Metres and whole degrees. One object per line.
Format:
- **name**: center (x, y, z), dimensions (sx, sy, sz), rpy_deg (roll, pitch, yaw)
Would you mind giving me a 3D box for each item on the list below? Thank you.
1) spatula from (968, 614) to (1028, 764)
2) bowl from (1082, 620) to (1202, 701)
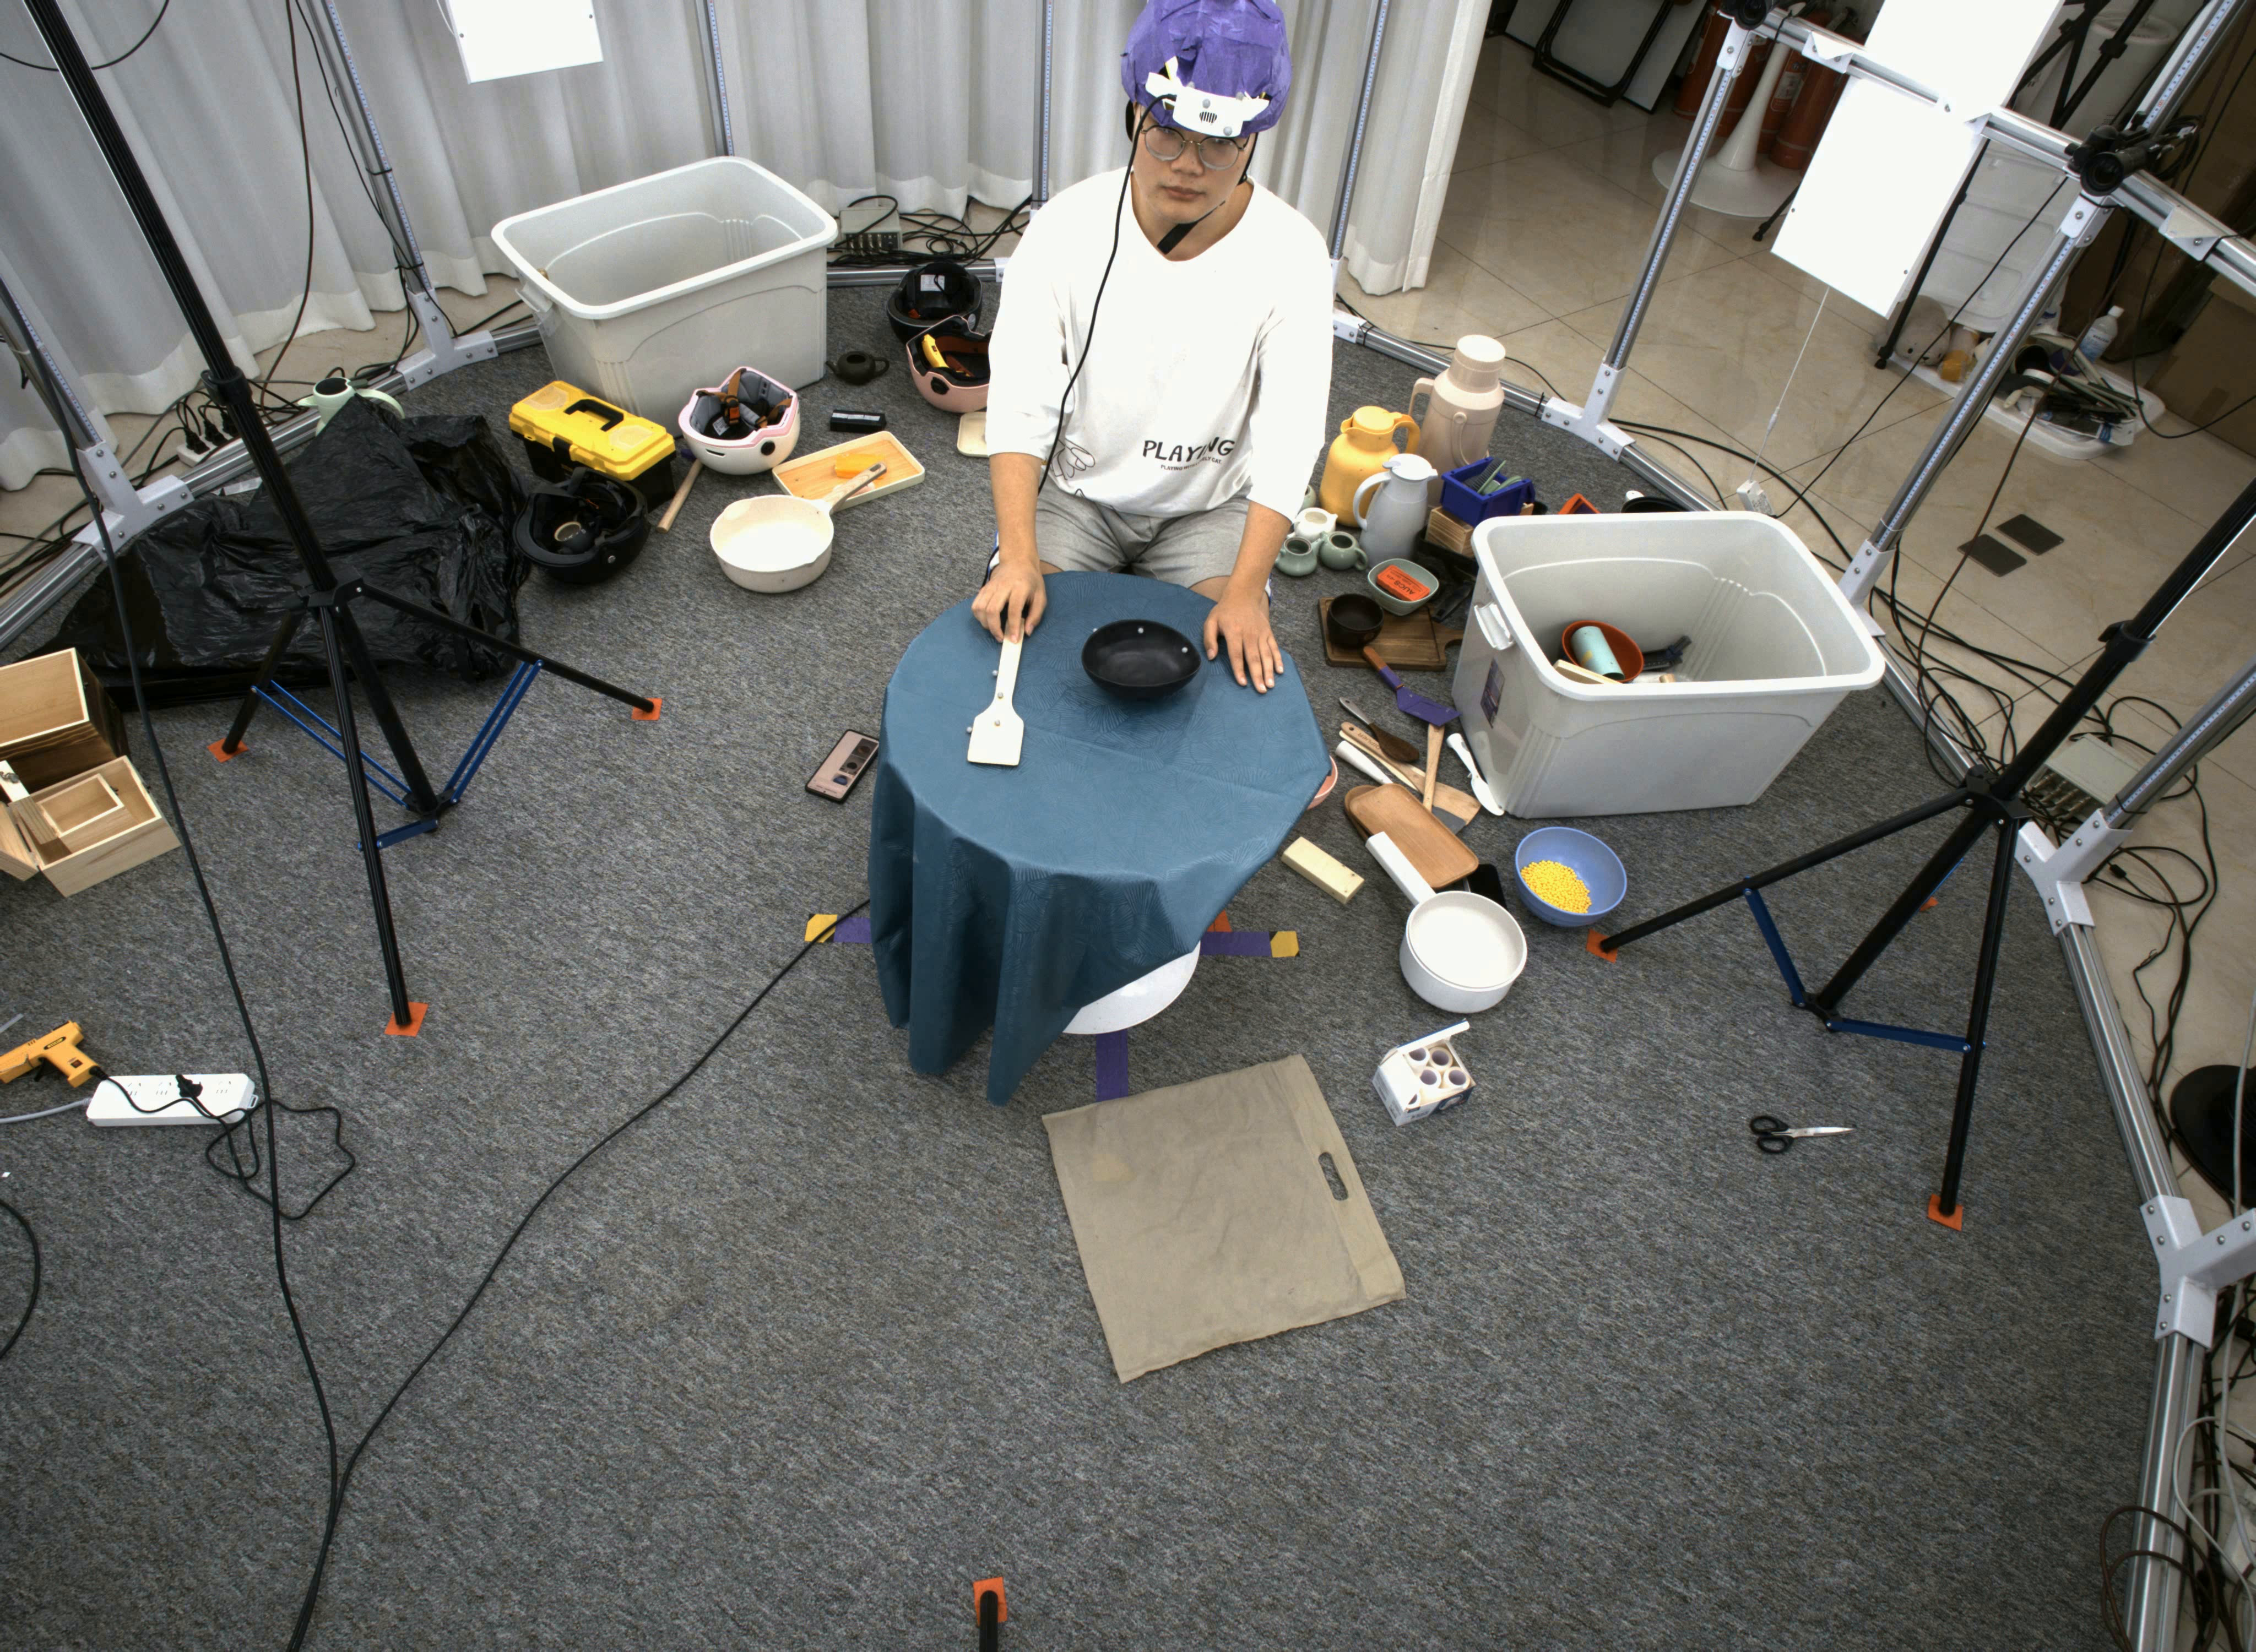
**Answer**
- **spatula**: center (-0.172, -0.199, 1.817), dimensions (0.072, 0.010, 0.300), rpy_deg (4, 50, 0)
- **bowl**: center (0.018, -0.225, 1.820), dimensions (0.170, 0.065, 0.141), rpy_deg (-3, 49, -10)
